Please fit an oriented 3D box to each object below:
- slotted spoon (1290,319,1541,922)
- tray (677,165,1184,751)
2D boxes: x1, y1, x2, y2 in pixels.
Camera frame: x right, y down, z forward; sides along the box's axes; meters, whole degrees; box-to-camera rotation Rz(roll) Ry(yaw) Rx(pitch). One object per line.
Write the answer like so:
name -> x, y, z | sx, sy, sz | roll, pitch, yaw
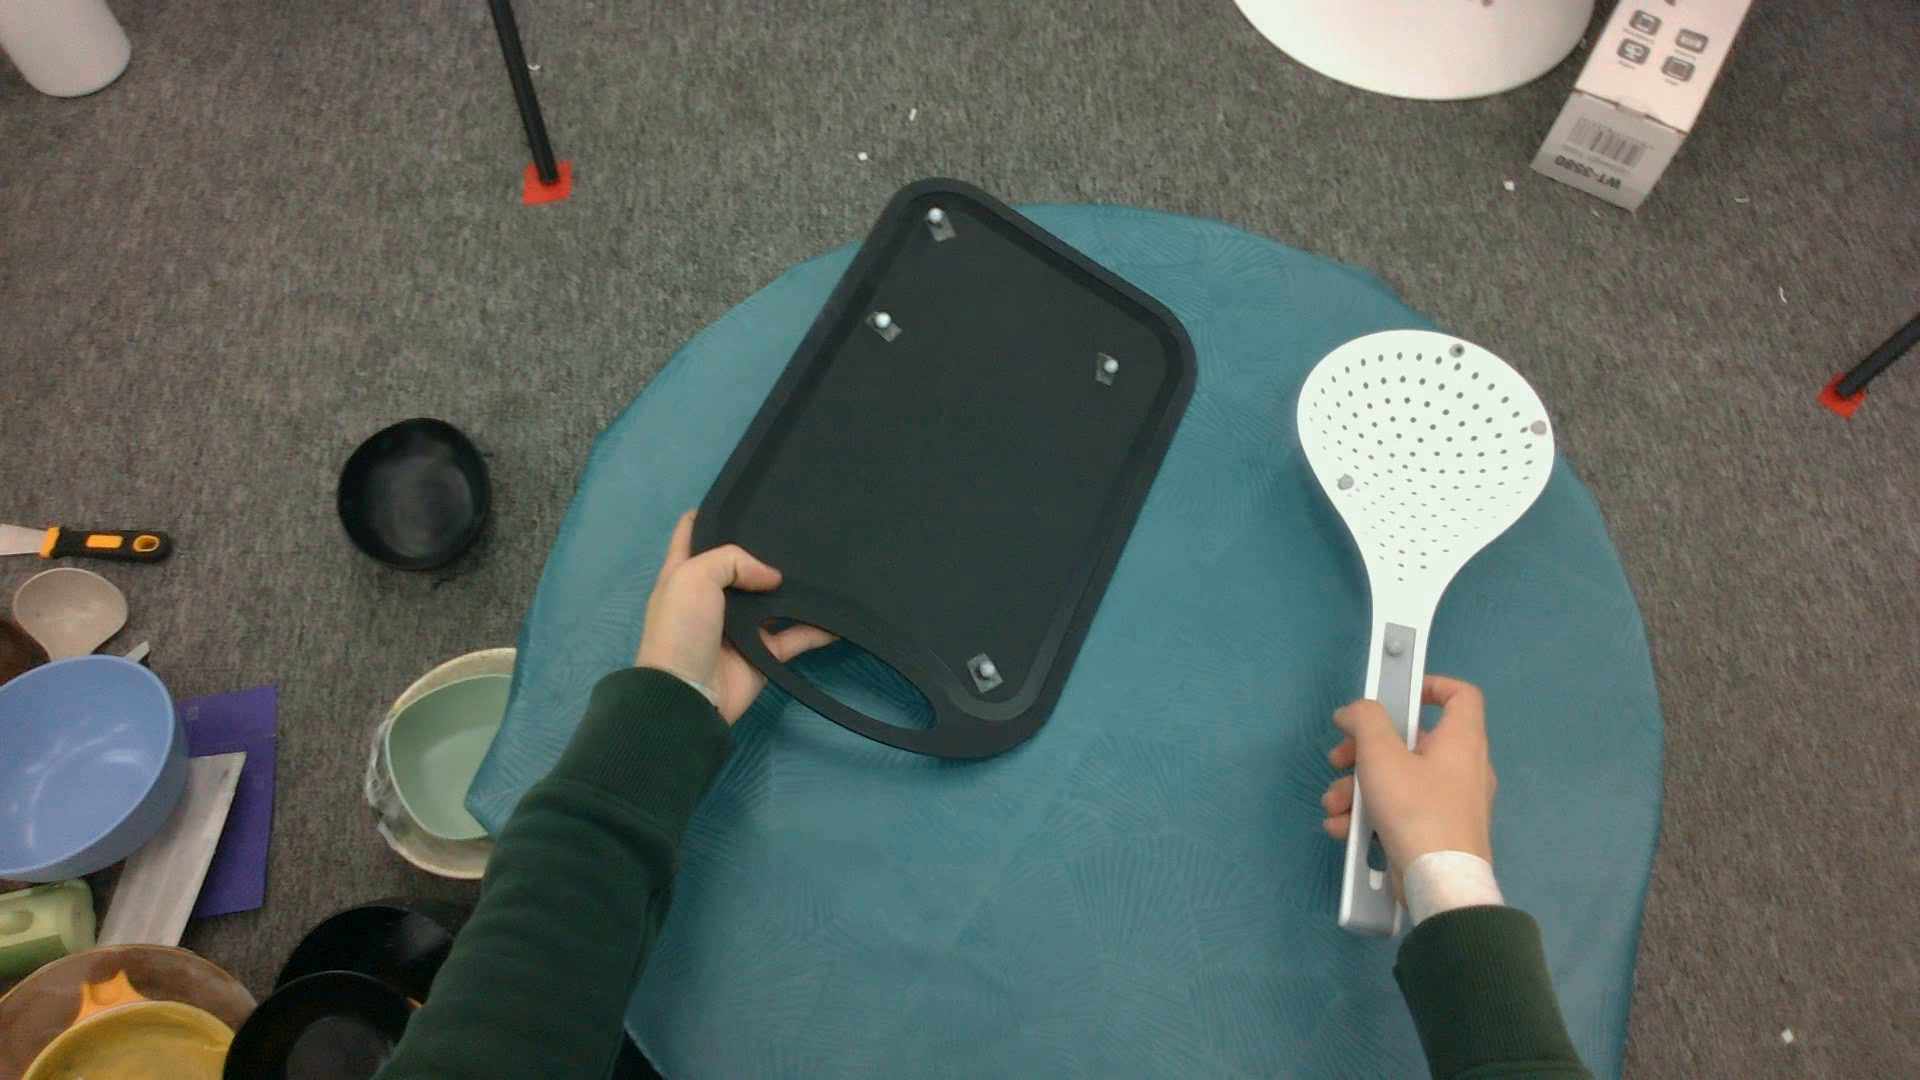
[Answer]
slotted spoon -> 0.223, 0.025, 0.709 | 0.136, 0.045, 0.351 | 12, 55, 8
tray -> -0.006, -0.050, 0.736 | 0.211, 0.010, 0.327 | 30, 63, -8
